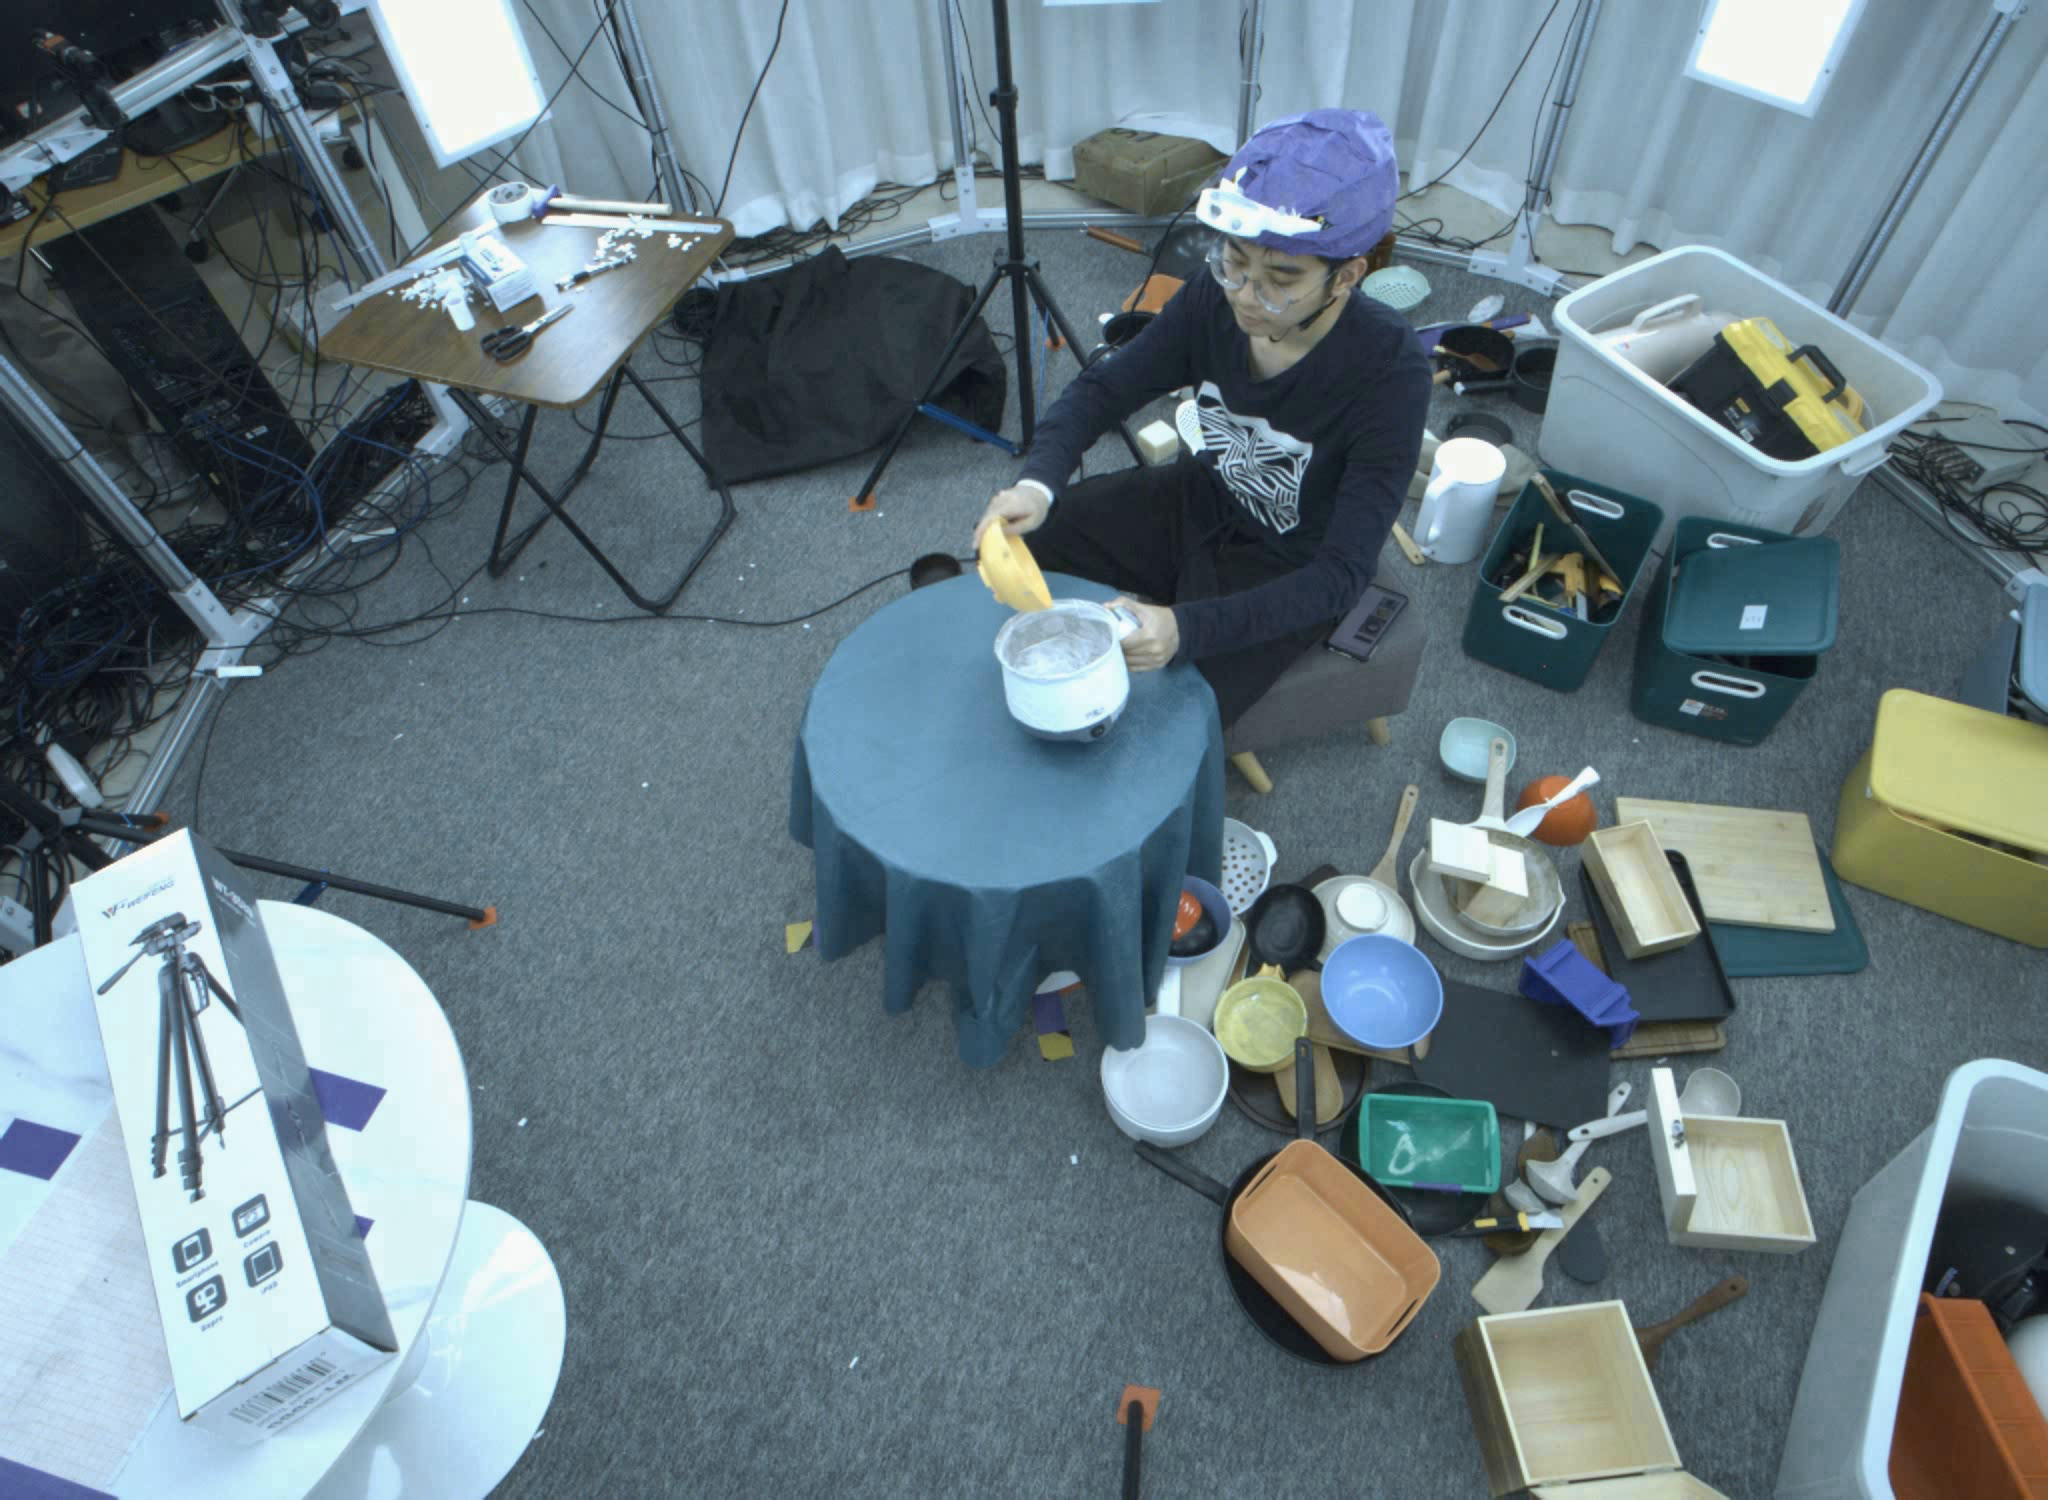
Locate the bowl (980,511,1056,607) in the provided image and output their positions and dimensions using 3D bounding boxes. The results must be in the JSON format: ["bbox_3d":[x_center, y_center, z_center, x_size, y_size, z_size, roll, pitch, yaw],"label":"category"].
[{"bbox_3d":[-0.019,-0.250,1.679,0.059,0.149,0.143,-29,53,19],"label":"bowl"}]

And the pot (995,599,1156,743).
[{"bbox_3d":[0.081,-0.122,1.765,0.235,0.138,0.175,-27,48,-15],"label":"pot"}]
